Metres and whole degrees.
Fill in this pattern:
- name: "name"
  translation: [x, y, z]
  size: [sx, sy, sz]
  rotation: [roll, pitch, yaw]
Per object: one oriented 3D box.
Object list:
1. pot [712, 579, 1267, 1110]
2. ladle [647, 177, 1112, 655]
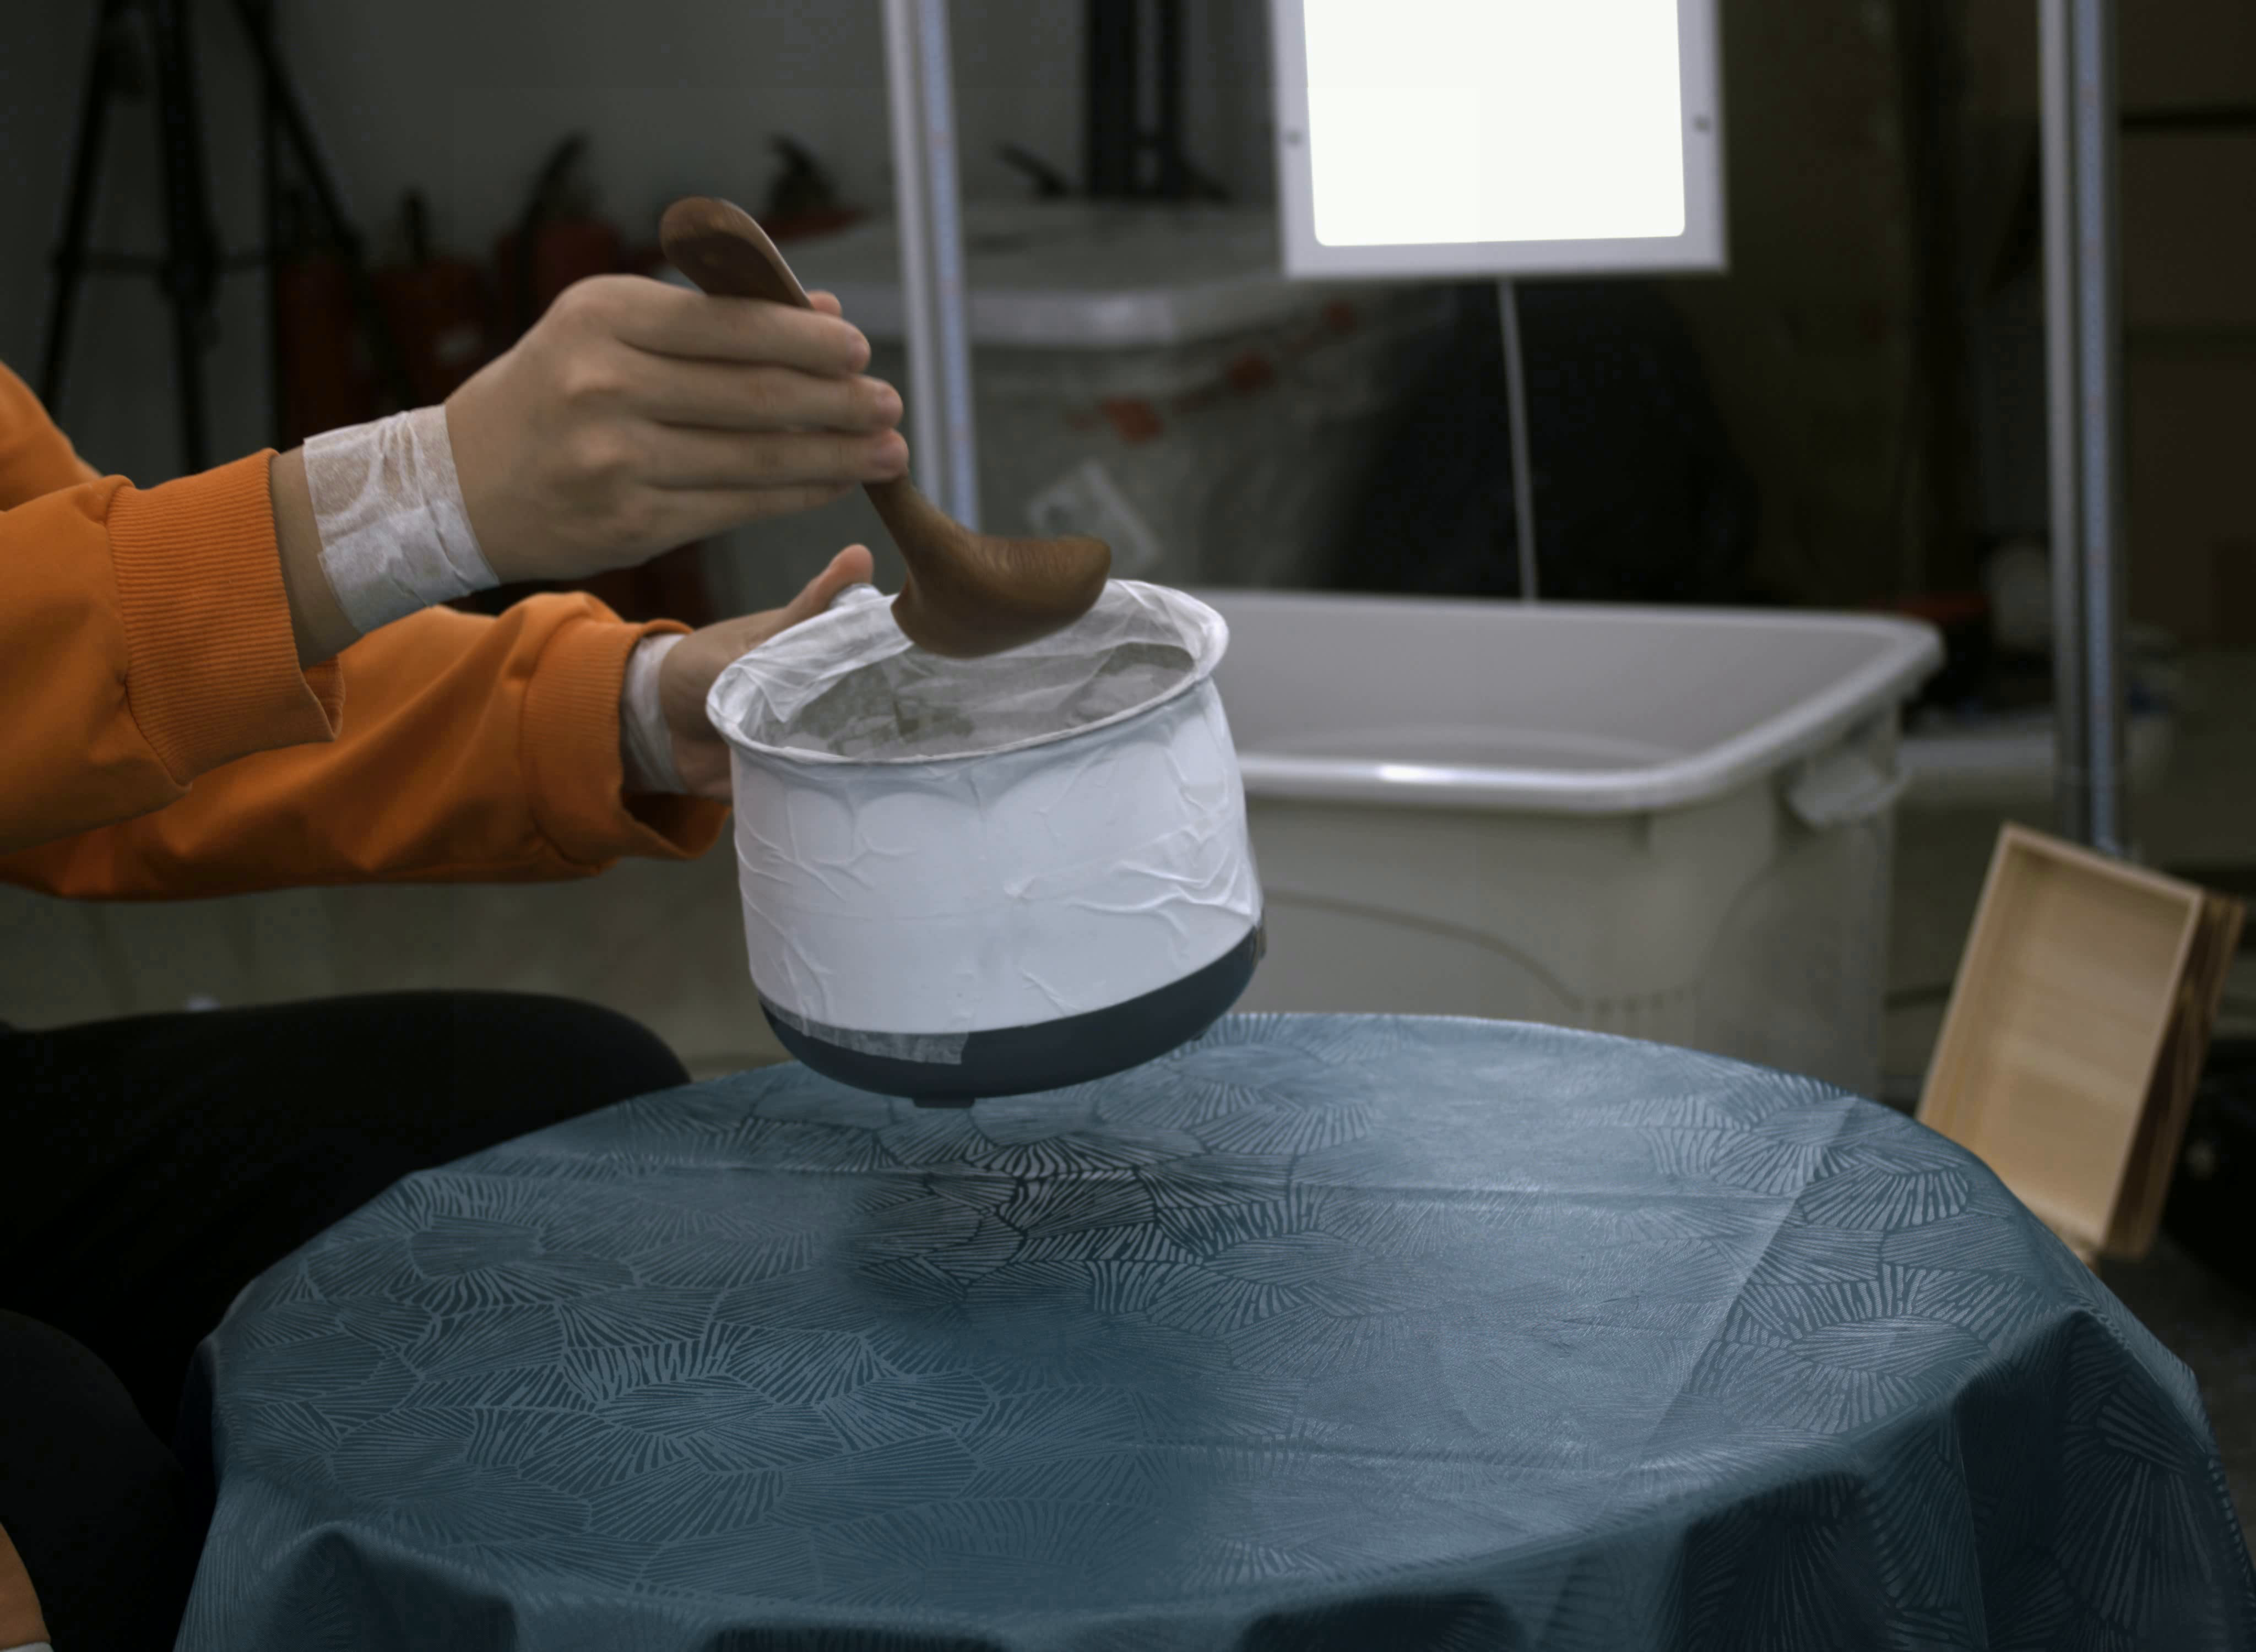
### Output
- name: "pot"
  translation: [-0.057, -0.002, 1.885]
  size: [0.175, 0.137, 0.237]
  rotation: [-16, 22, -21]
- name: "ladle"
  translation: [-0.083, -0.134, 1.725]
  size: [0.077, 0.257, 0.065]
  rotation: [-26, 46, 13]
